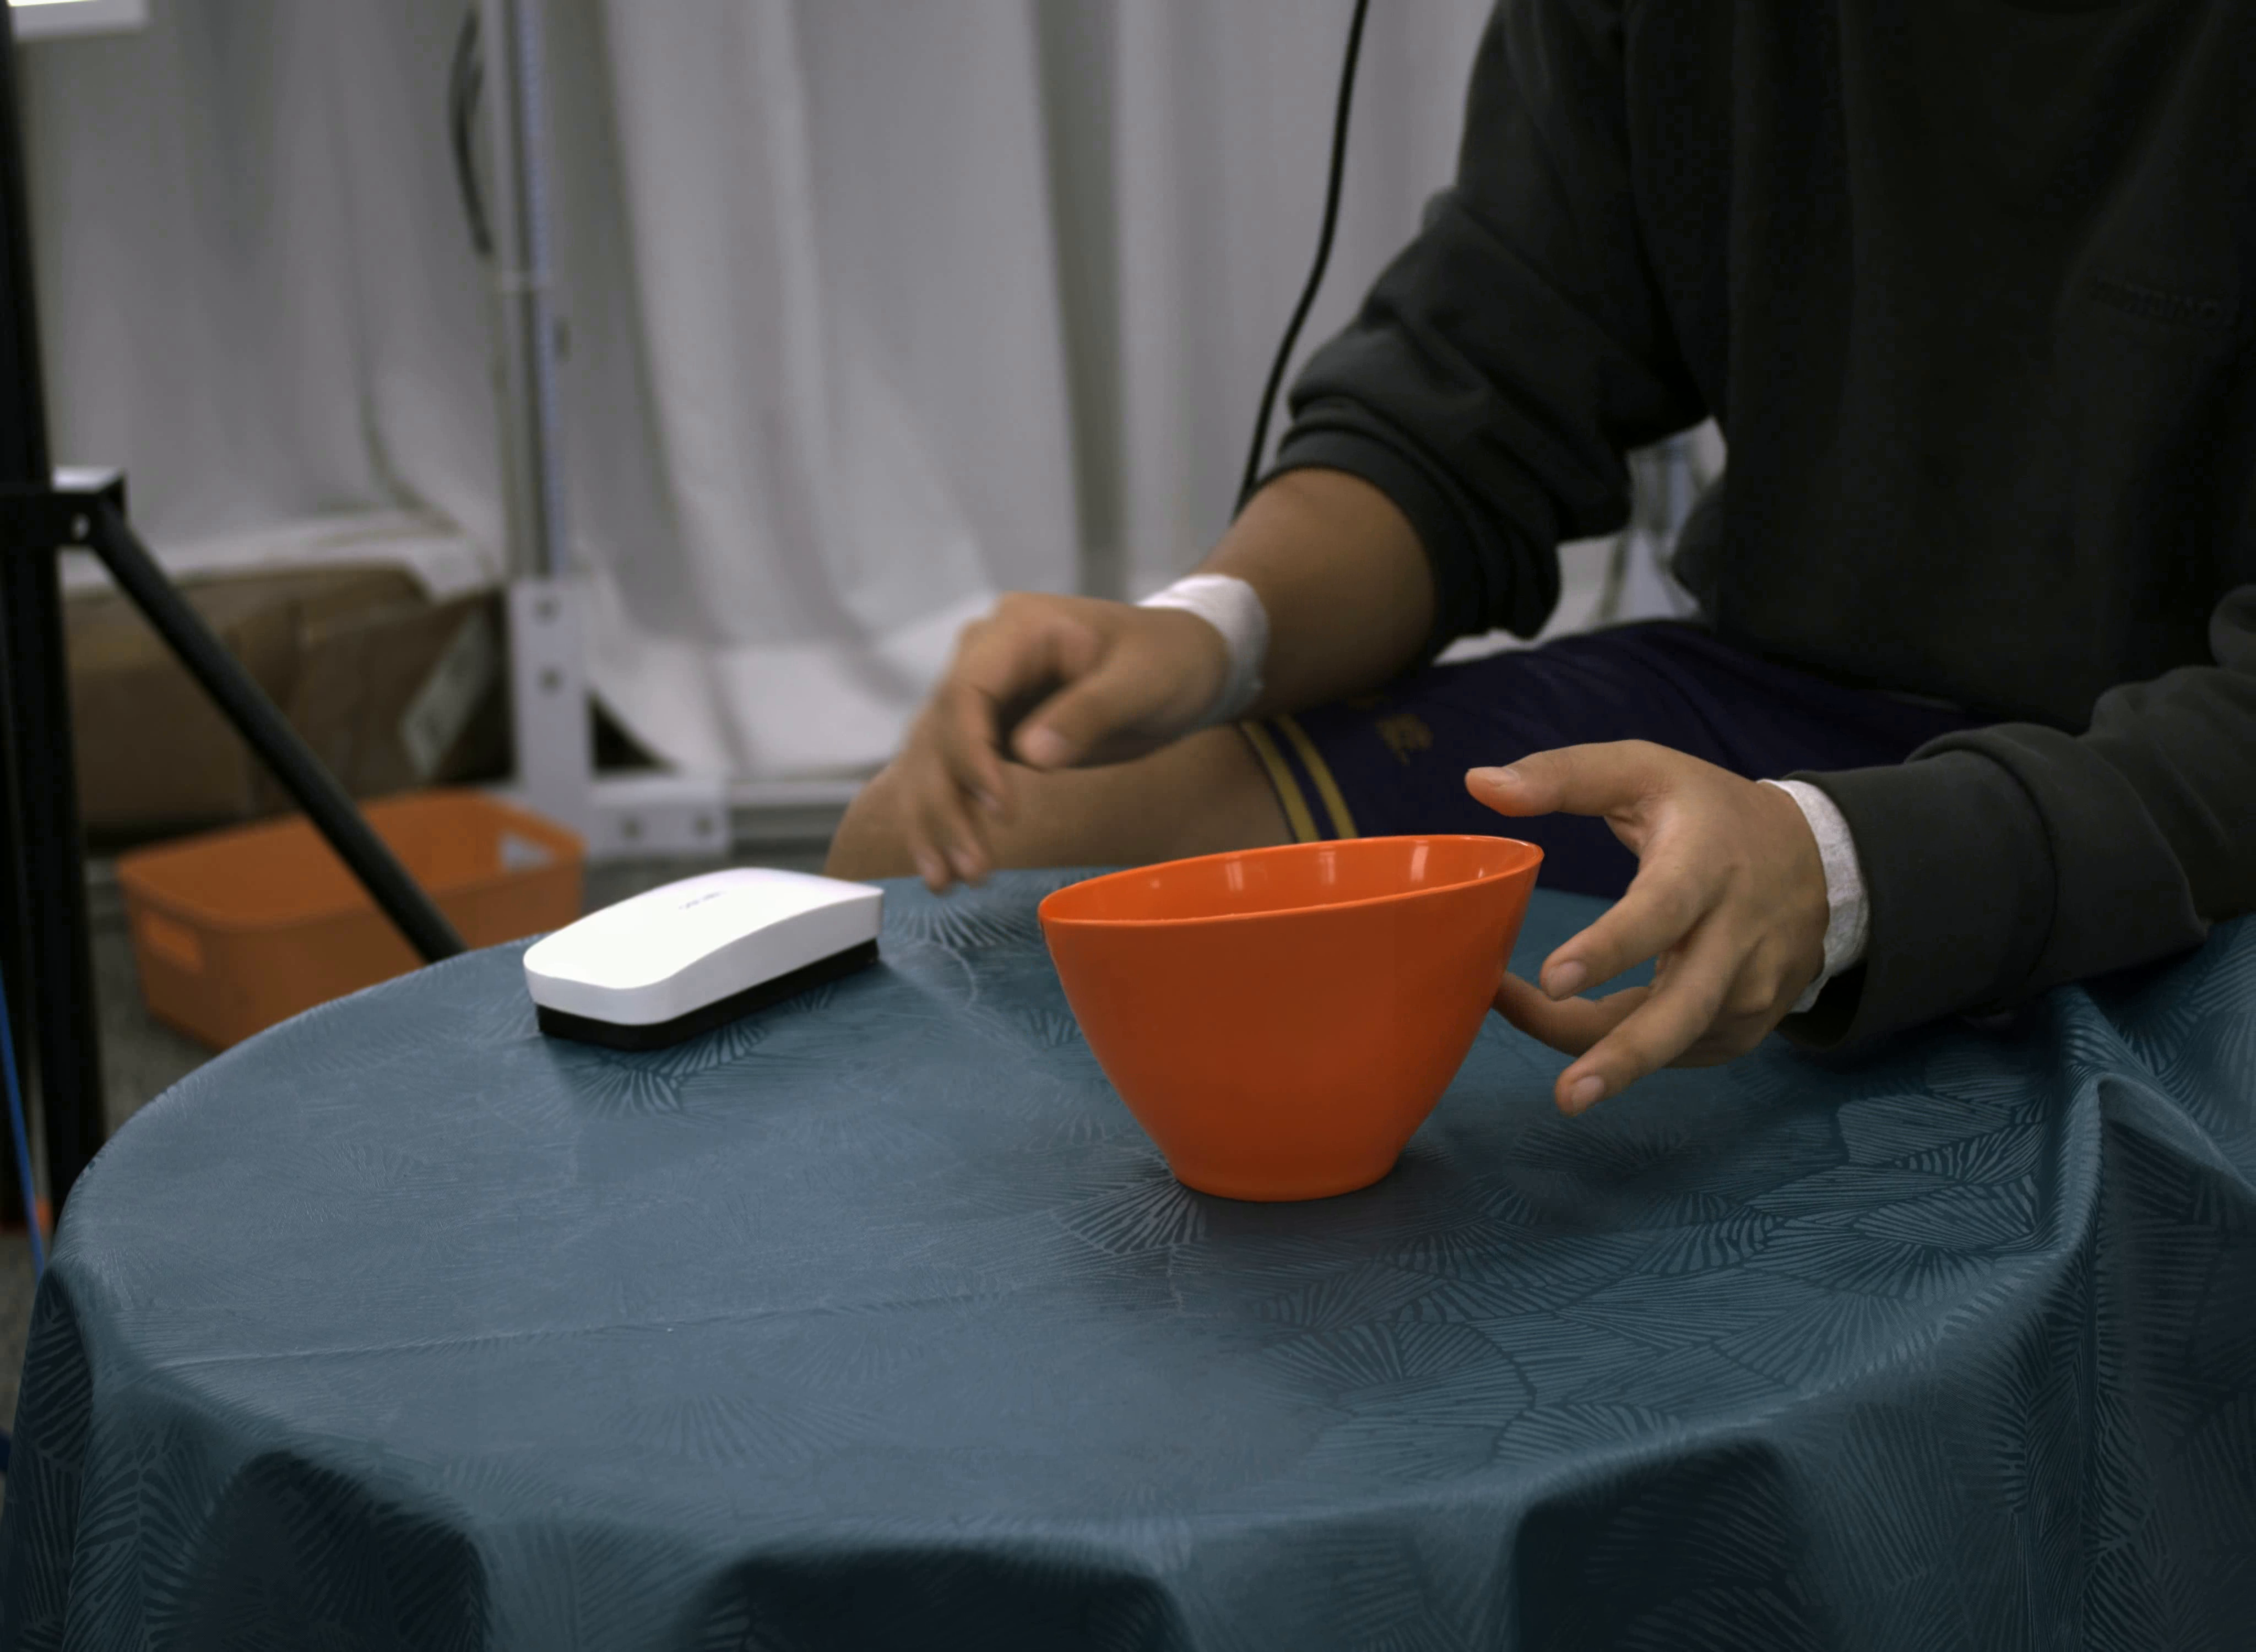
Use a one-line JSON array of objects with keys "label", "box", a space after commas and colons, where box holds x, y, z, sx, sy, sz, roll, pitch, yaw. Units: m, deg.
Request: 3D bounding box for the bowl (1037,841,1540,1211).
[{"label": "bowl", "box": [0.048, 0.056, 1.553, 0.147, 0.104, 0.149, -3, 14, -1]}]

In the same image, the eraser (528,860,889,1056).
[{"label": "eraser", "box": [-0.136, 0.040, 1.763, 0.065, 0.034, 0.128, 11, 22, 38]}]
